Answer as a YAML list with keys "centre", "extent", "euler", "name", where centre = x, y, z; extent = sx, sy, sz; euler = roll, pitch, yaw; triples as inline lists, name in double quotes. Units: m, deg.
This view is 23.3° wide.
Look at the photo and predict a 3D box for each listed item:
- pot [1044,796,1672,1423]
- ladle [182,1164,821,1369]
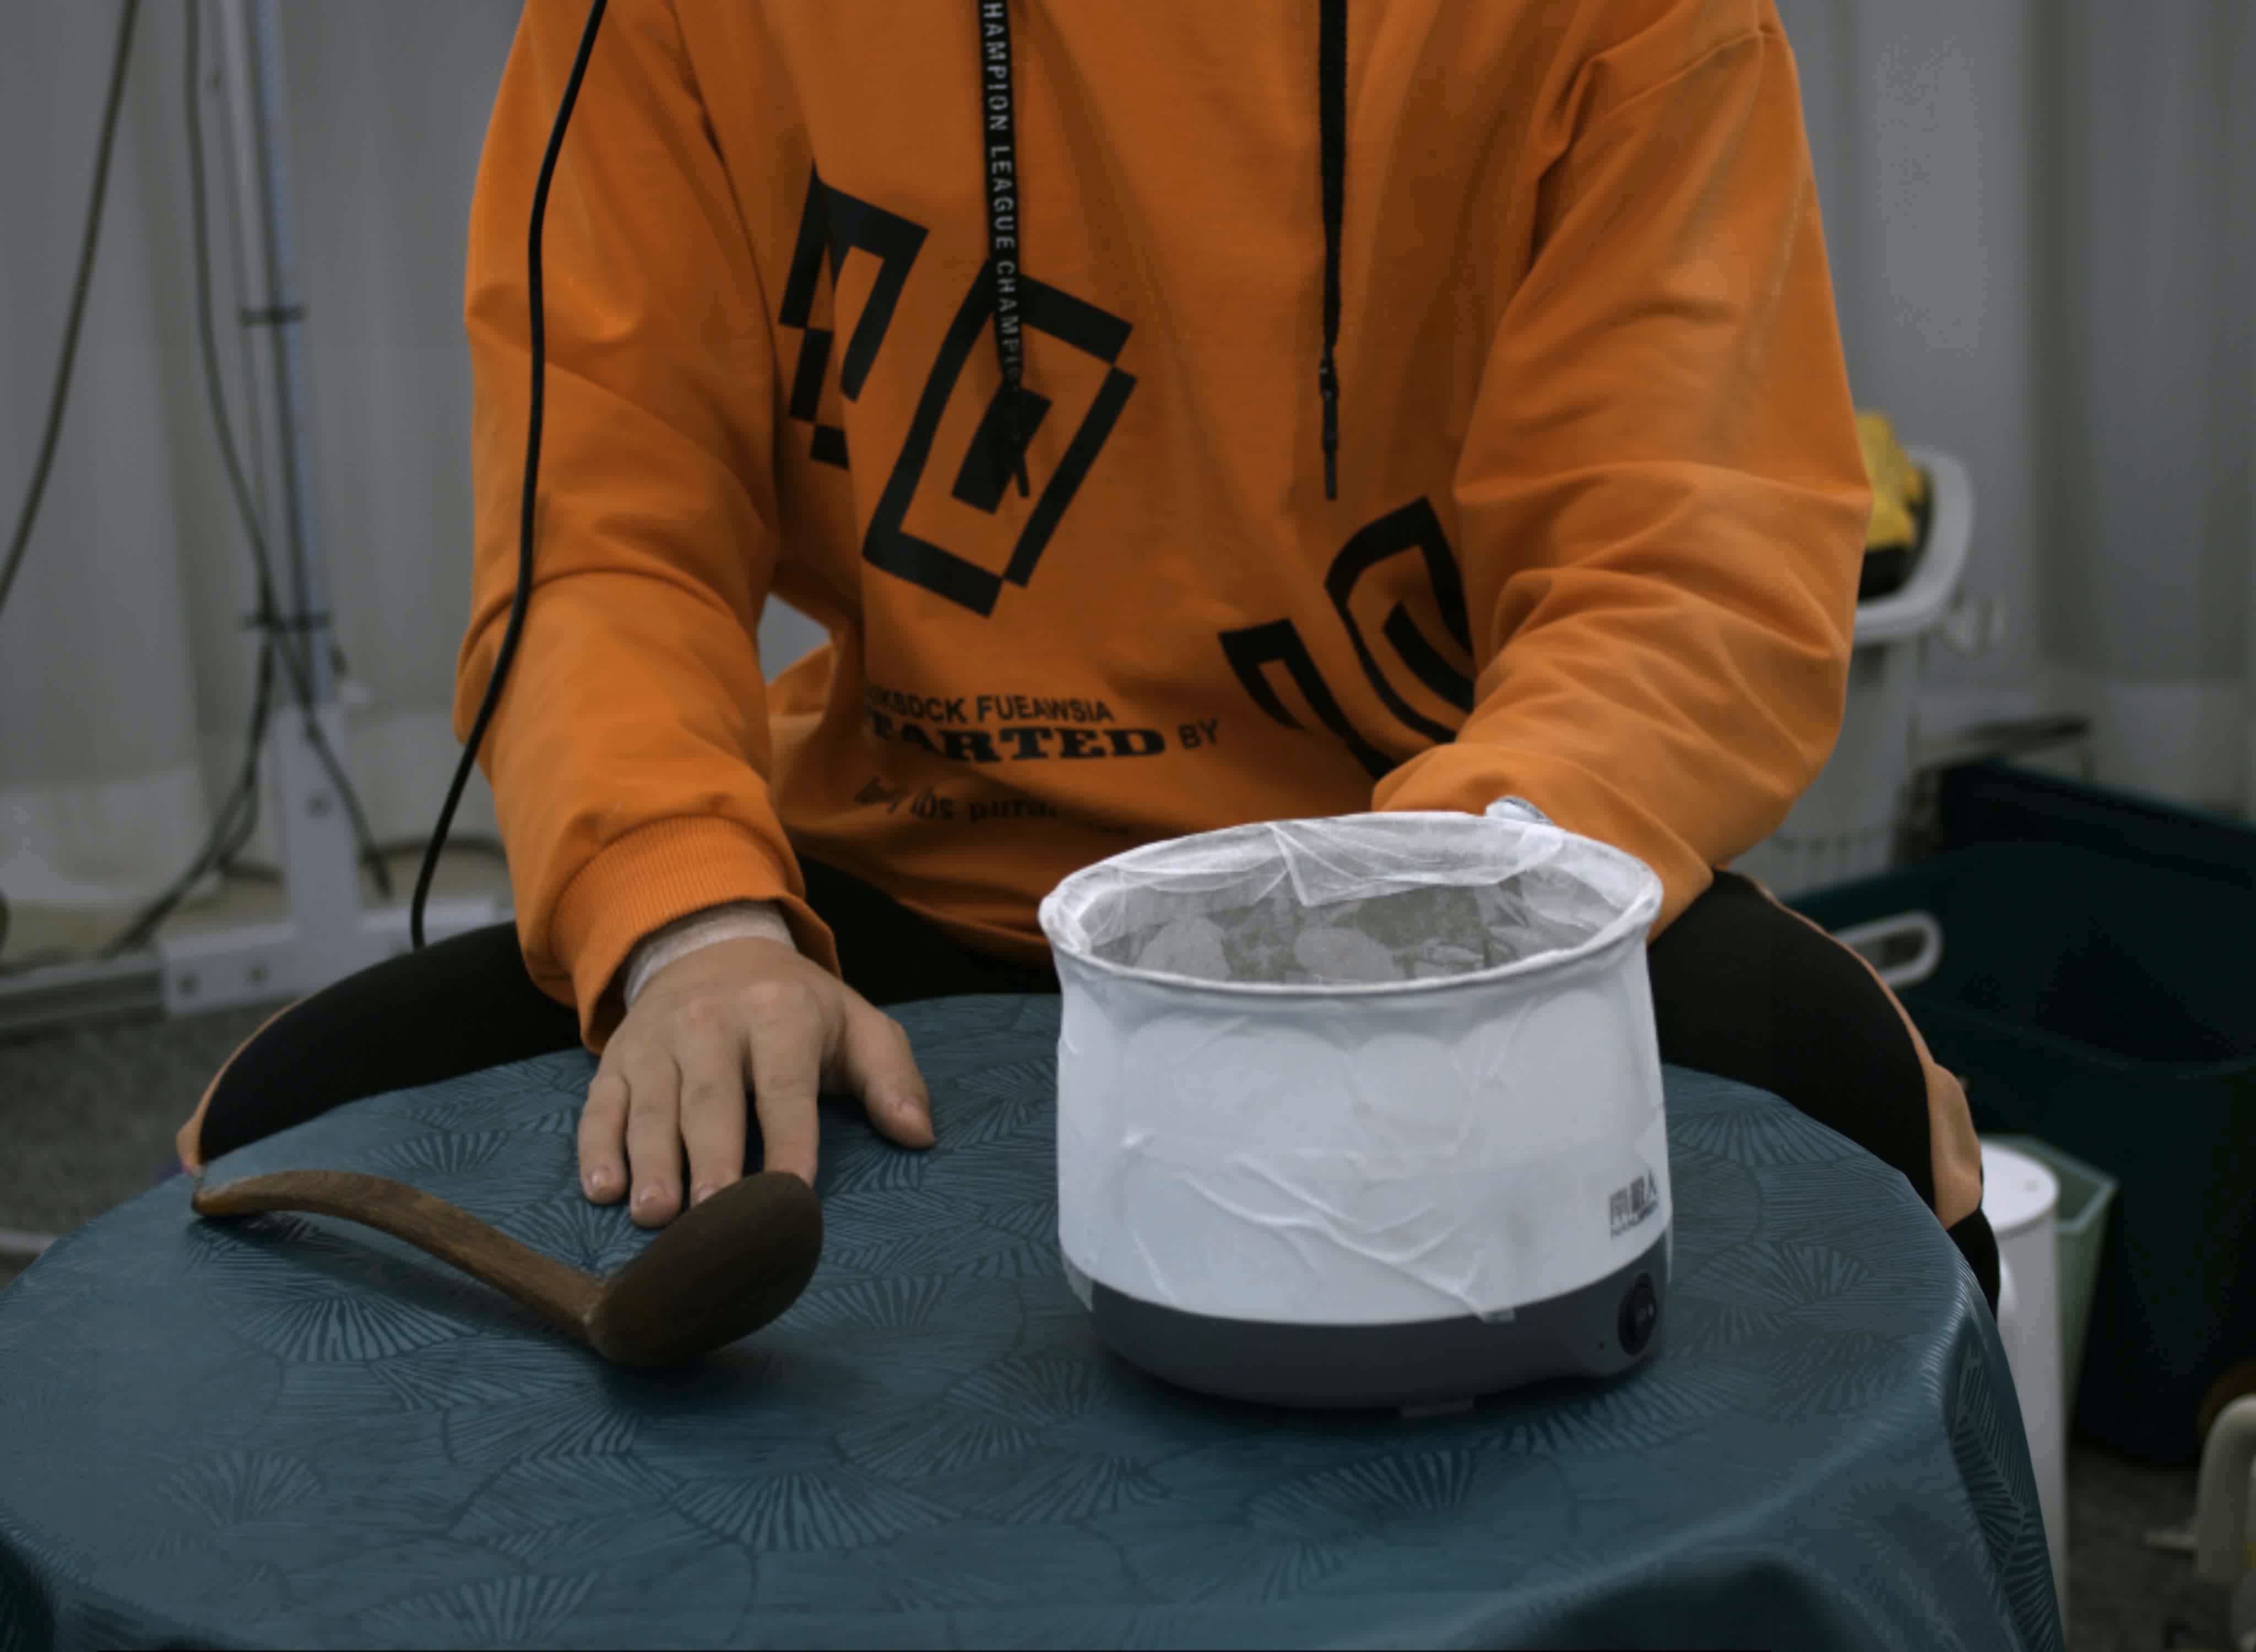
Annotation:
- centre: [0.080, 0.075, 1.586]
  extent: [0.179, 0.136, 0.234]
  euler: [6, 17, 29]
  name: "pot"
- centre: [-0.197, 0.110, 1.639]
  extent: [0.076, 0.071, 0.276]
  euler: [-11, 17, -43]
  name: "ladle"
